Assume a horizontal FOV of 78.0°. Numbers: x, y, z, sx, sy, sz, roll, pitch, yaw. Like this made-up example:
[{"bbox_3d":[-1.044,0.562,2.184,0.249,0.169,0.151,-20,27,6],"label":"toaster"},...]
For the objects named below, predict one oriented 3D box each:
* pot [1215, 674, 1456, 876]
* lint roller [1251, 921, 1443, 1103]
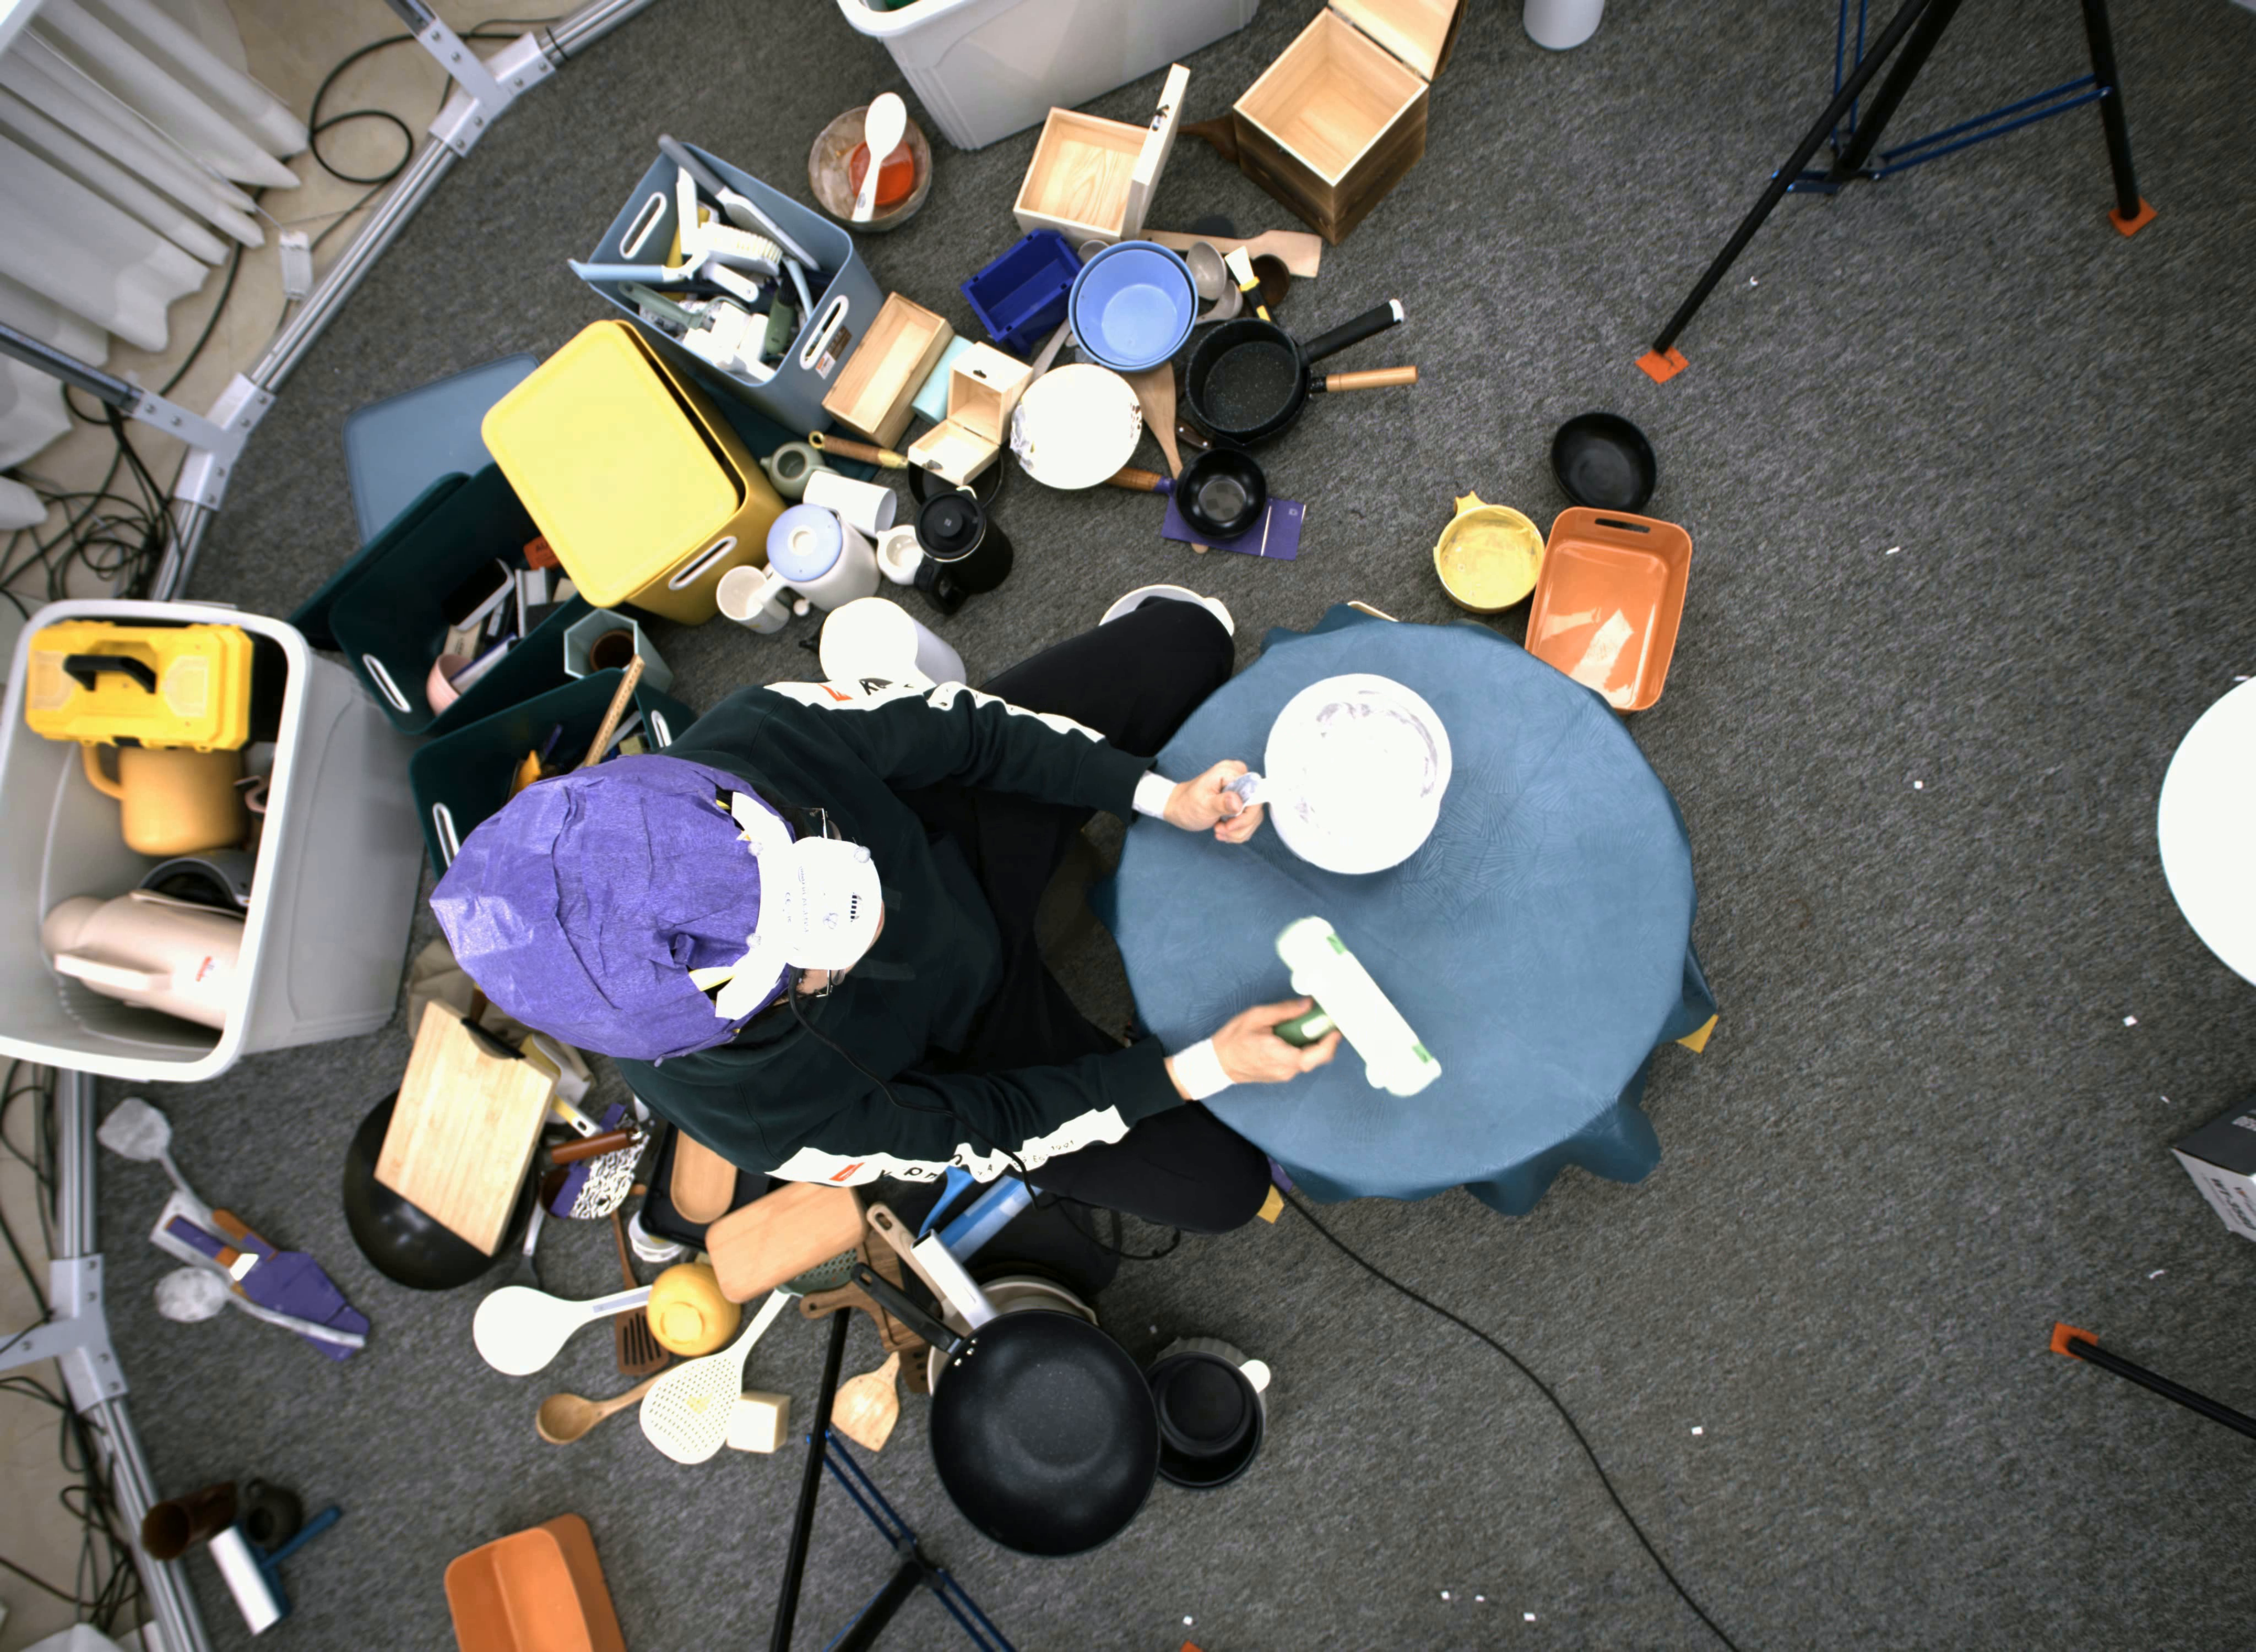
[{"bbox_3d":[0.202,-0.041,1.379,0.234,0.138,0.176,-11,73,3],"label":"pot"},{"bbox_3d":[0.184,0.207,1.368,0.187,0.080,0.199,-32,99,33],"label":"lint roller"}]
